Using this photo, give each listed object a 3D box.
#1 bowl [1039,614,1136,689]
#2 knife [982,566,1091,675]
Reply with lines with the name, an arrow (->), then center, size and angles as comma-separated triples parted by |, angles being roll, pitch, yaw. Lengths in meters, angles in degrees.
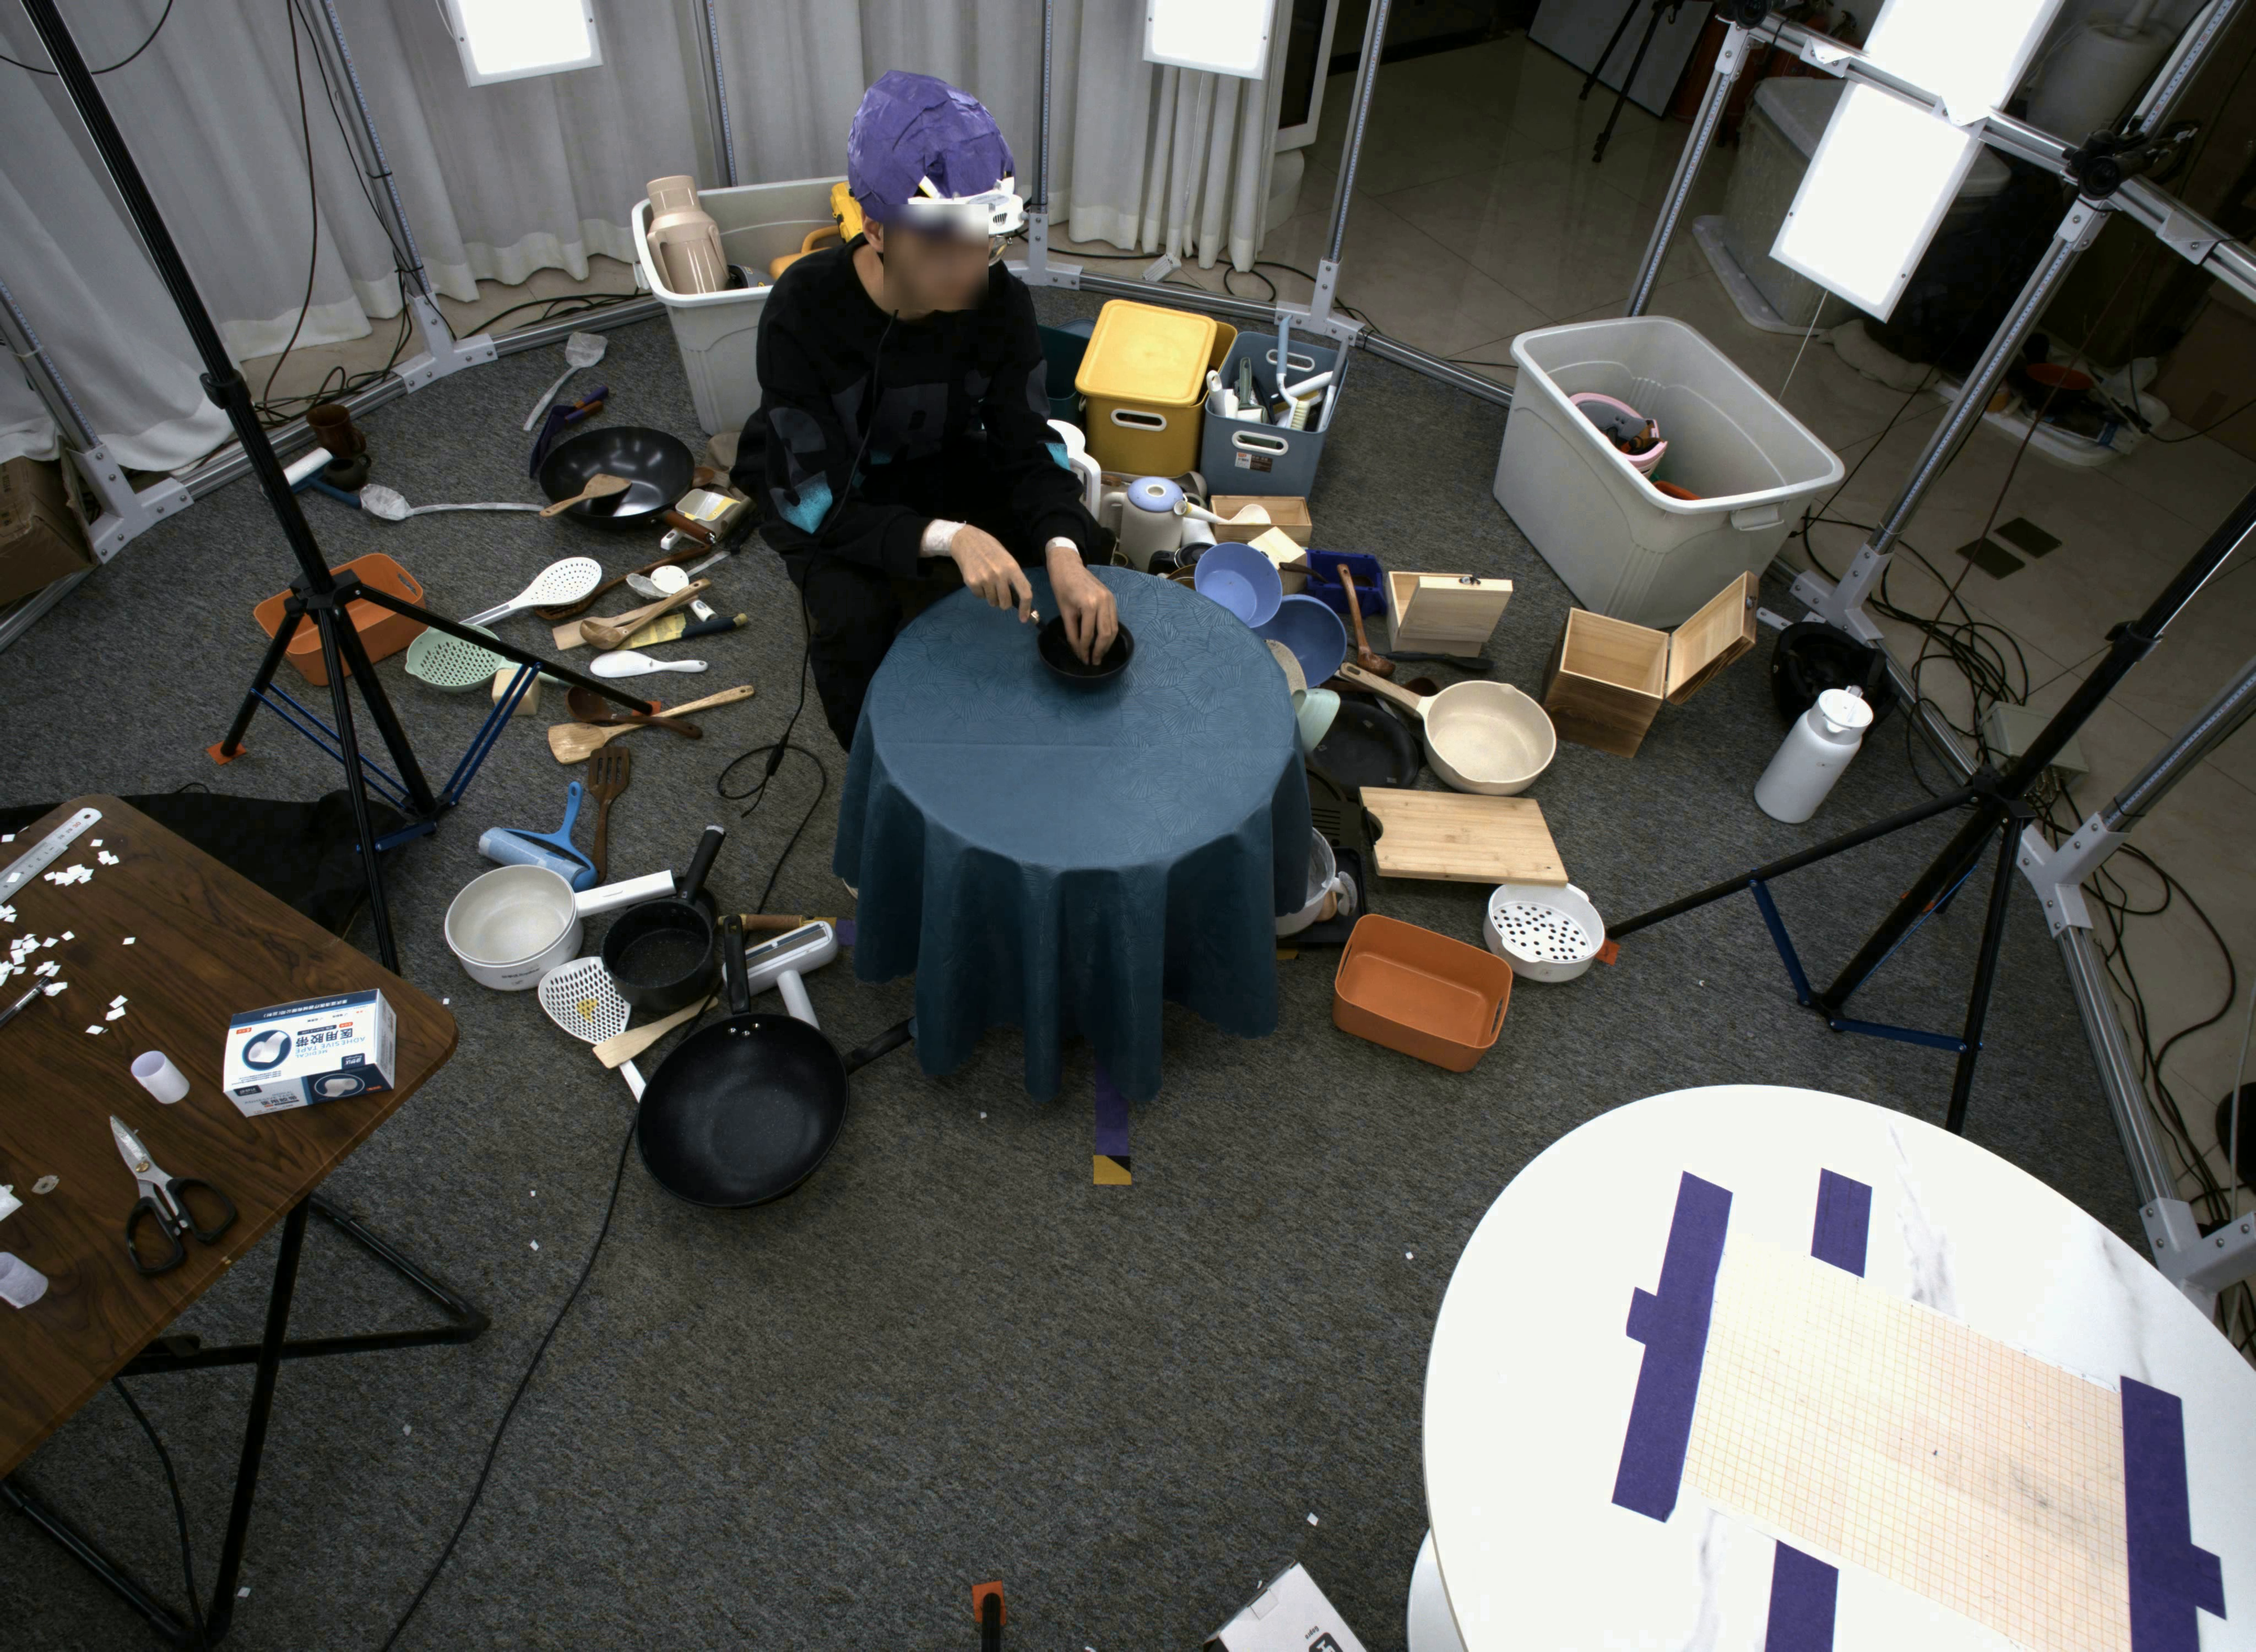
bowl -> -0.057, -0.243, 1.848 | 0.140, 0.048, 0.143 | -1, 47, 0
knife -> -0.123, -0.285, 1.826 | 0.224, 0.026, 0.017 | 44, 63, -7
